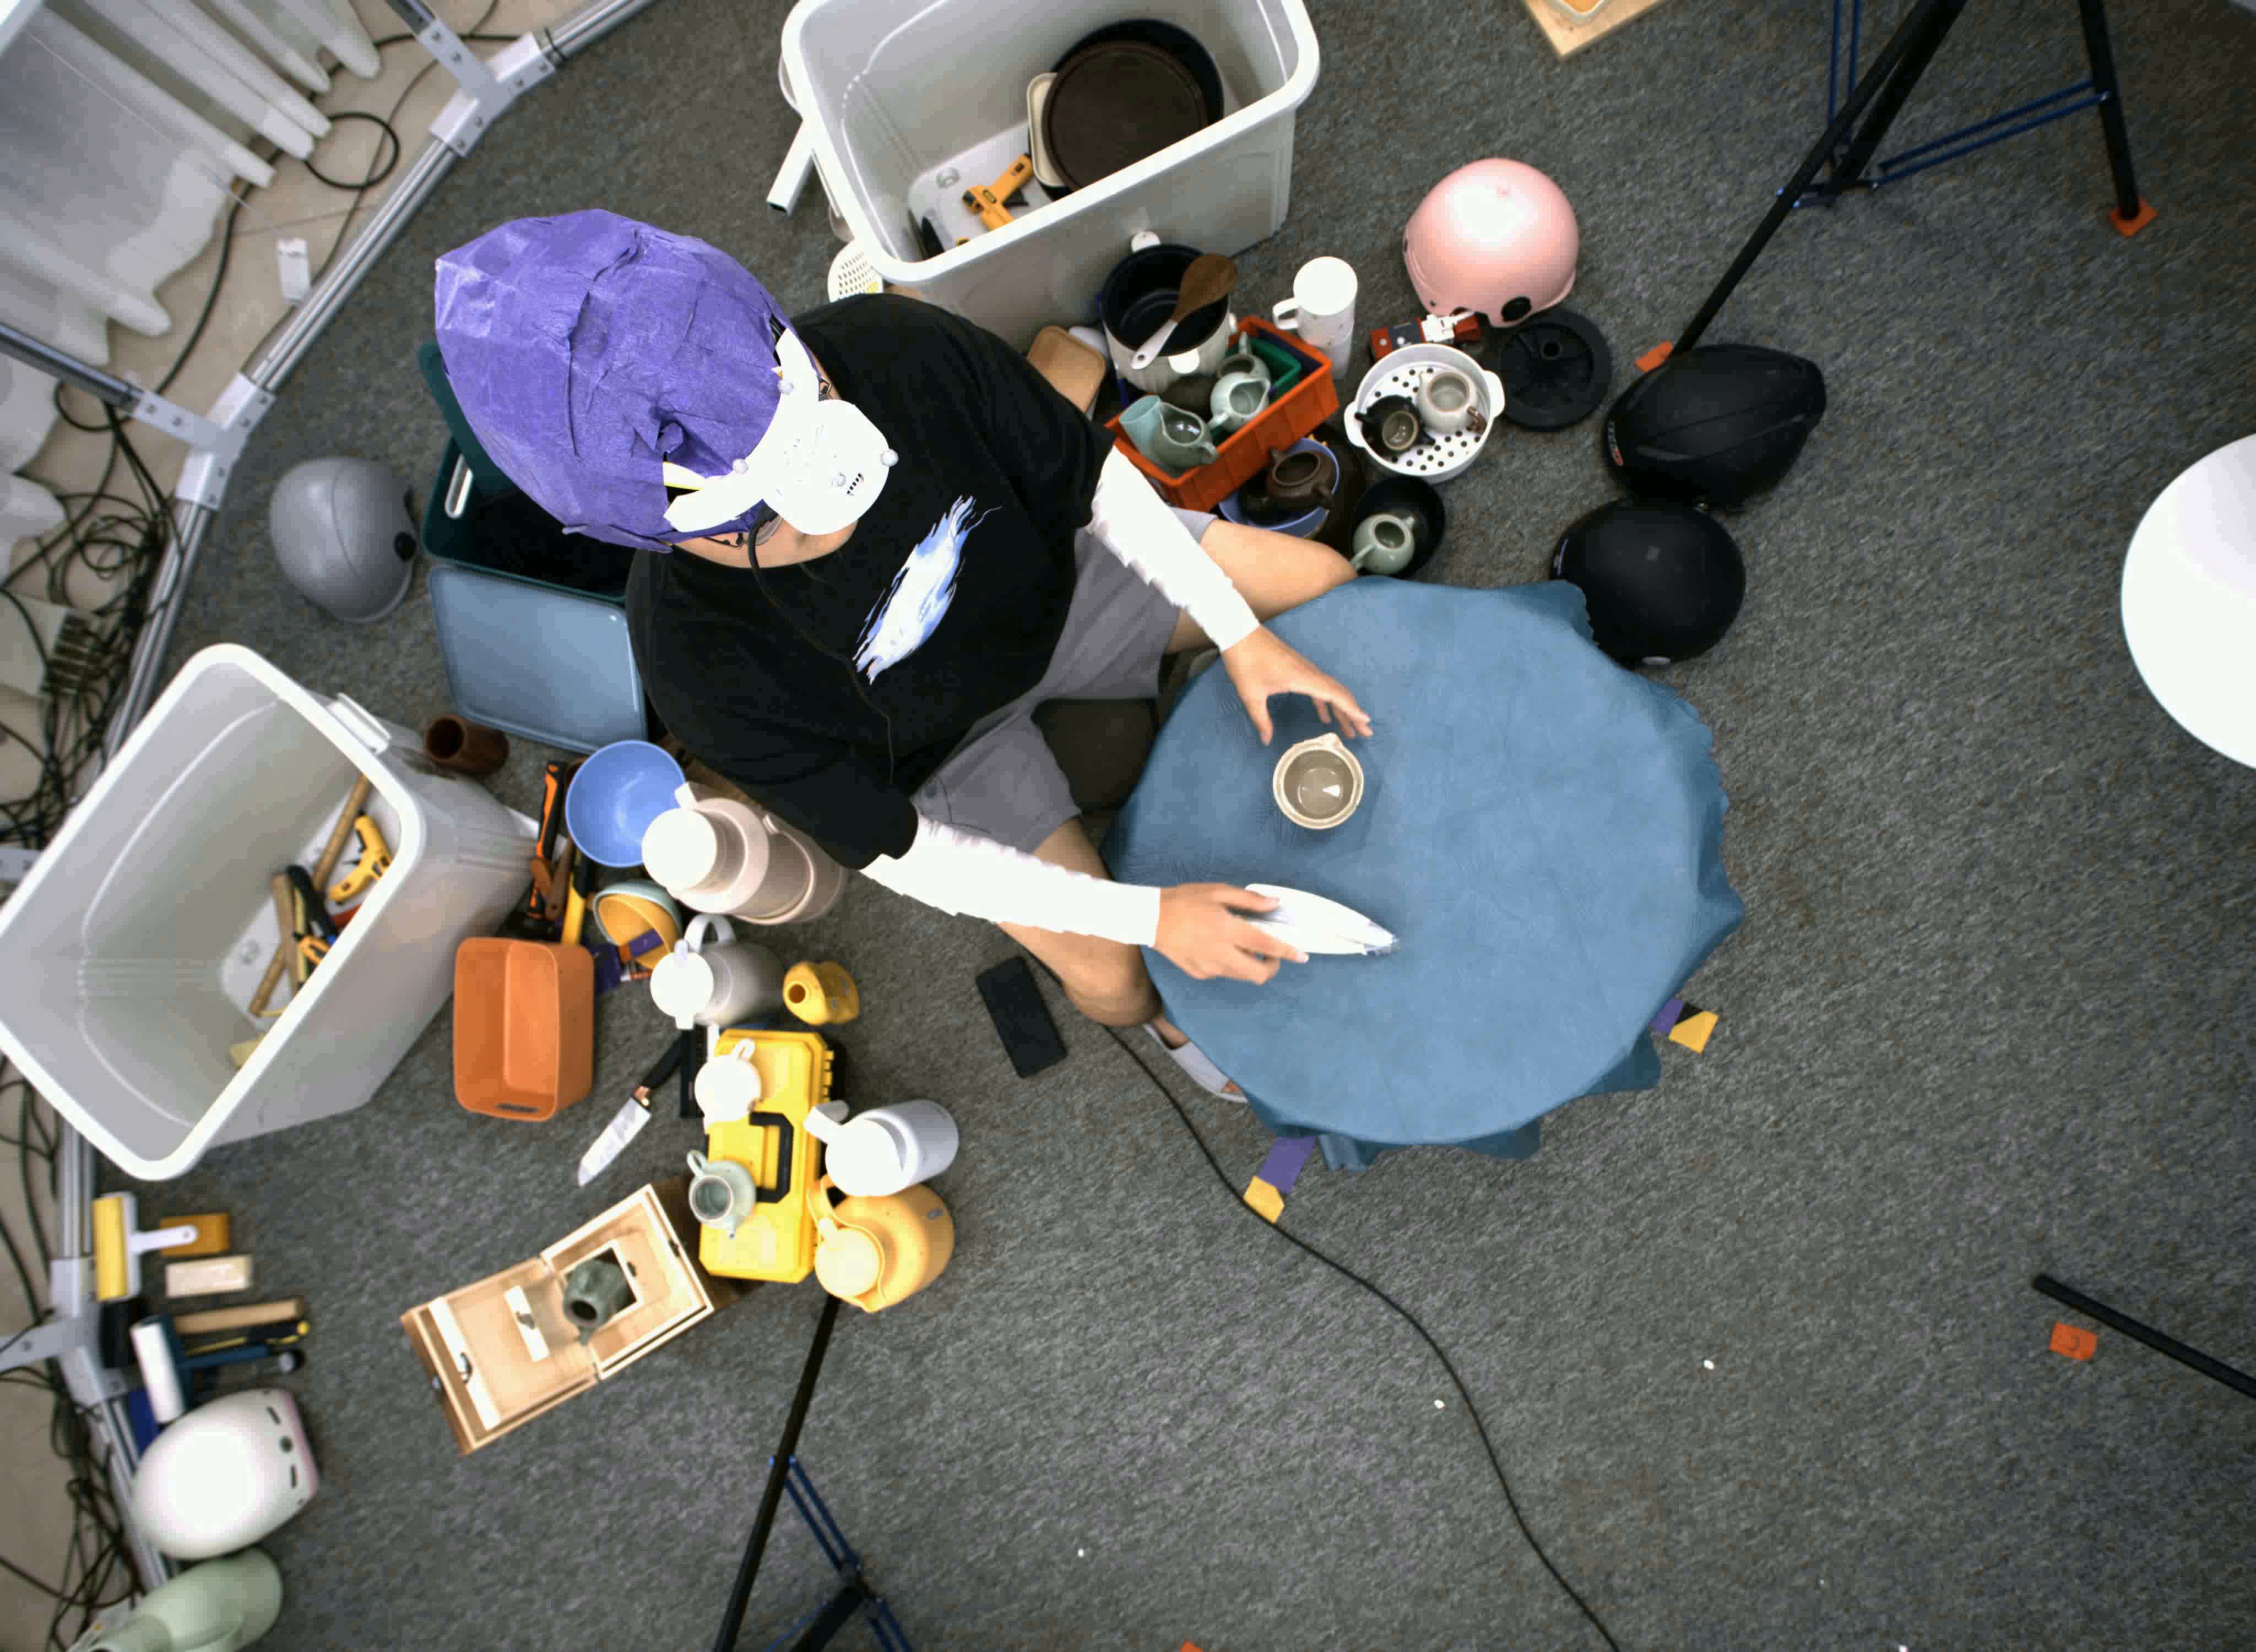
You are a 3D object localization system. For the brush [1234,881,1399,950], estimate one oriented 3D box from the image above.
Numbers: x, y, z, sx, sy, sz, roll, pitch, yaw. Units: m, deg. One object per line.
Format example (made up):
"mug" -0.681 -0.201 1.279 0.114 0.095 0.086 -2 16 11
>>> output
"brush" 0.194 0.098 1.425 0.176 0.094 0.061 12 90 8

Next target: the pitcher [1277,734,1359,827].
"pitcher" 0.201 -0.044 1.441 0.084 0.071 0.095 15 86 12
